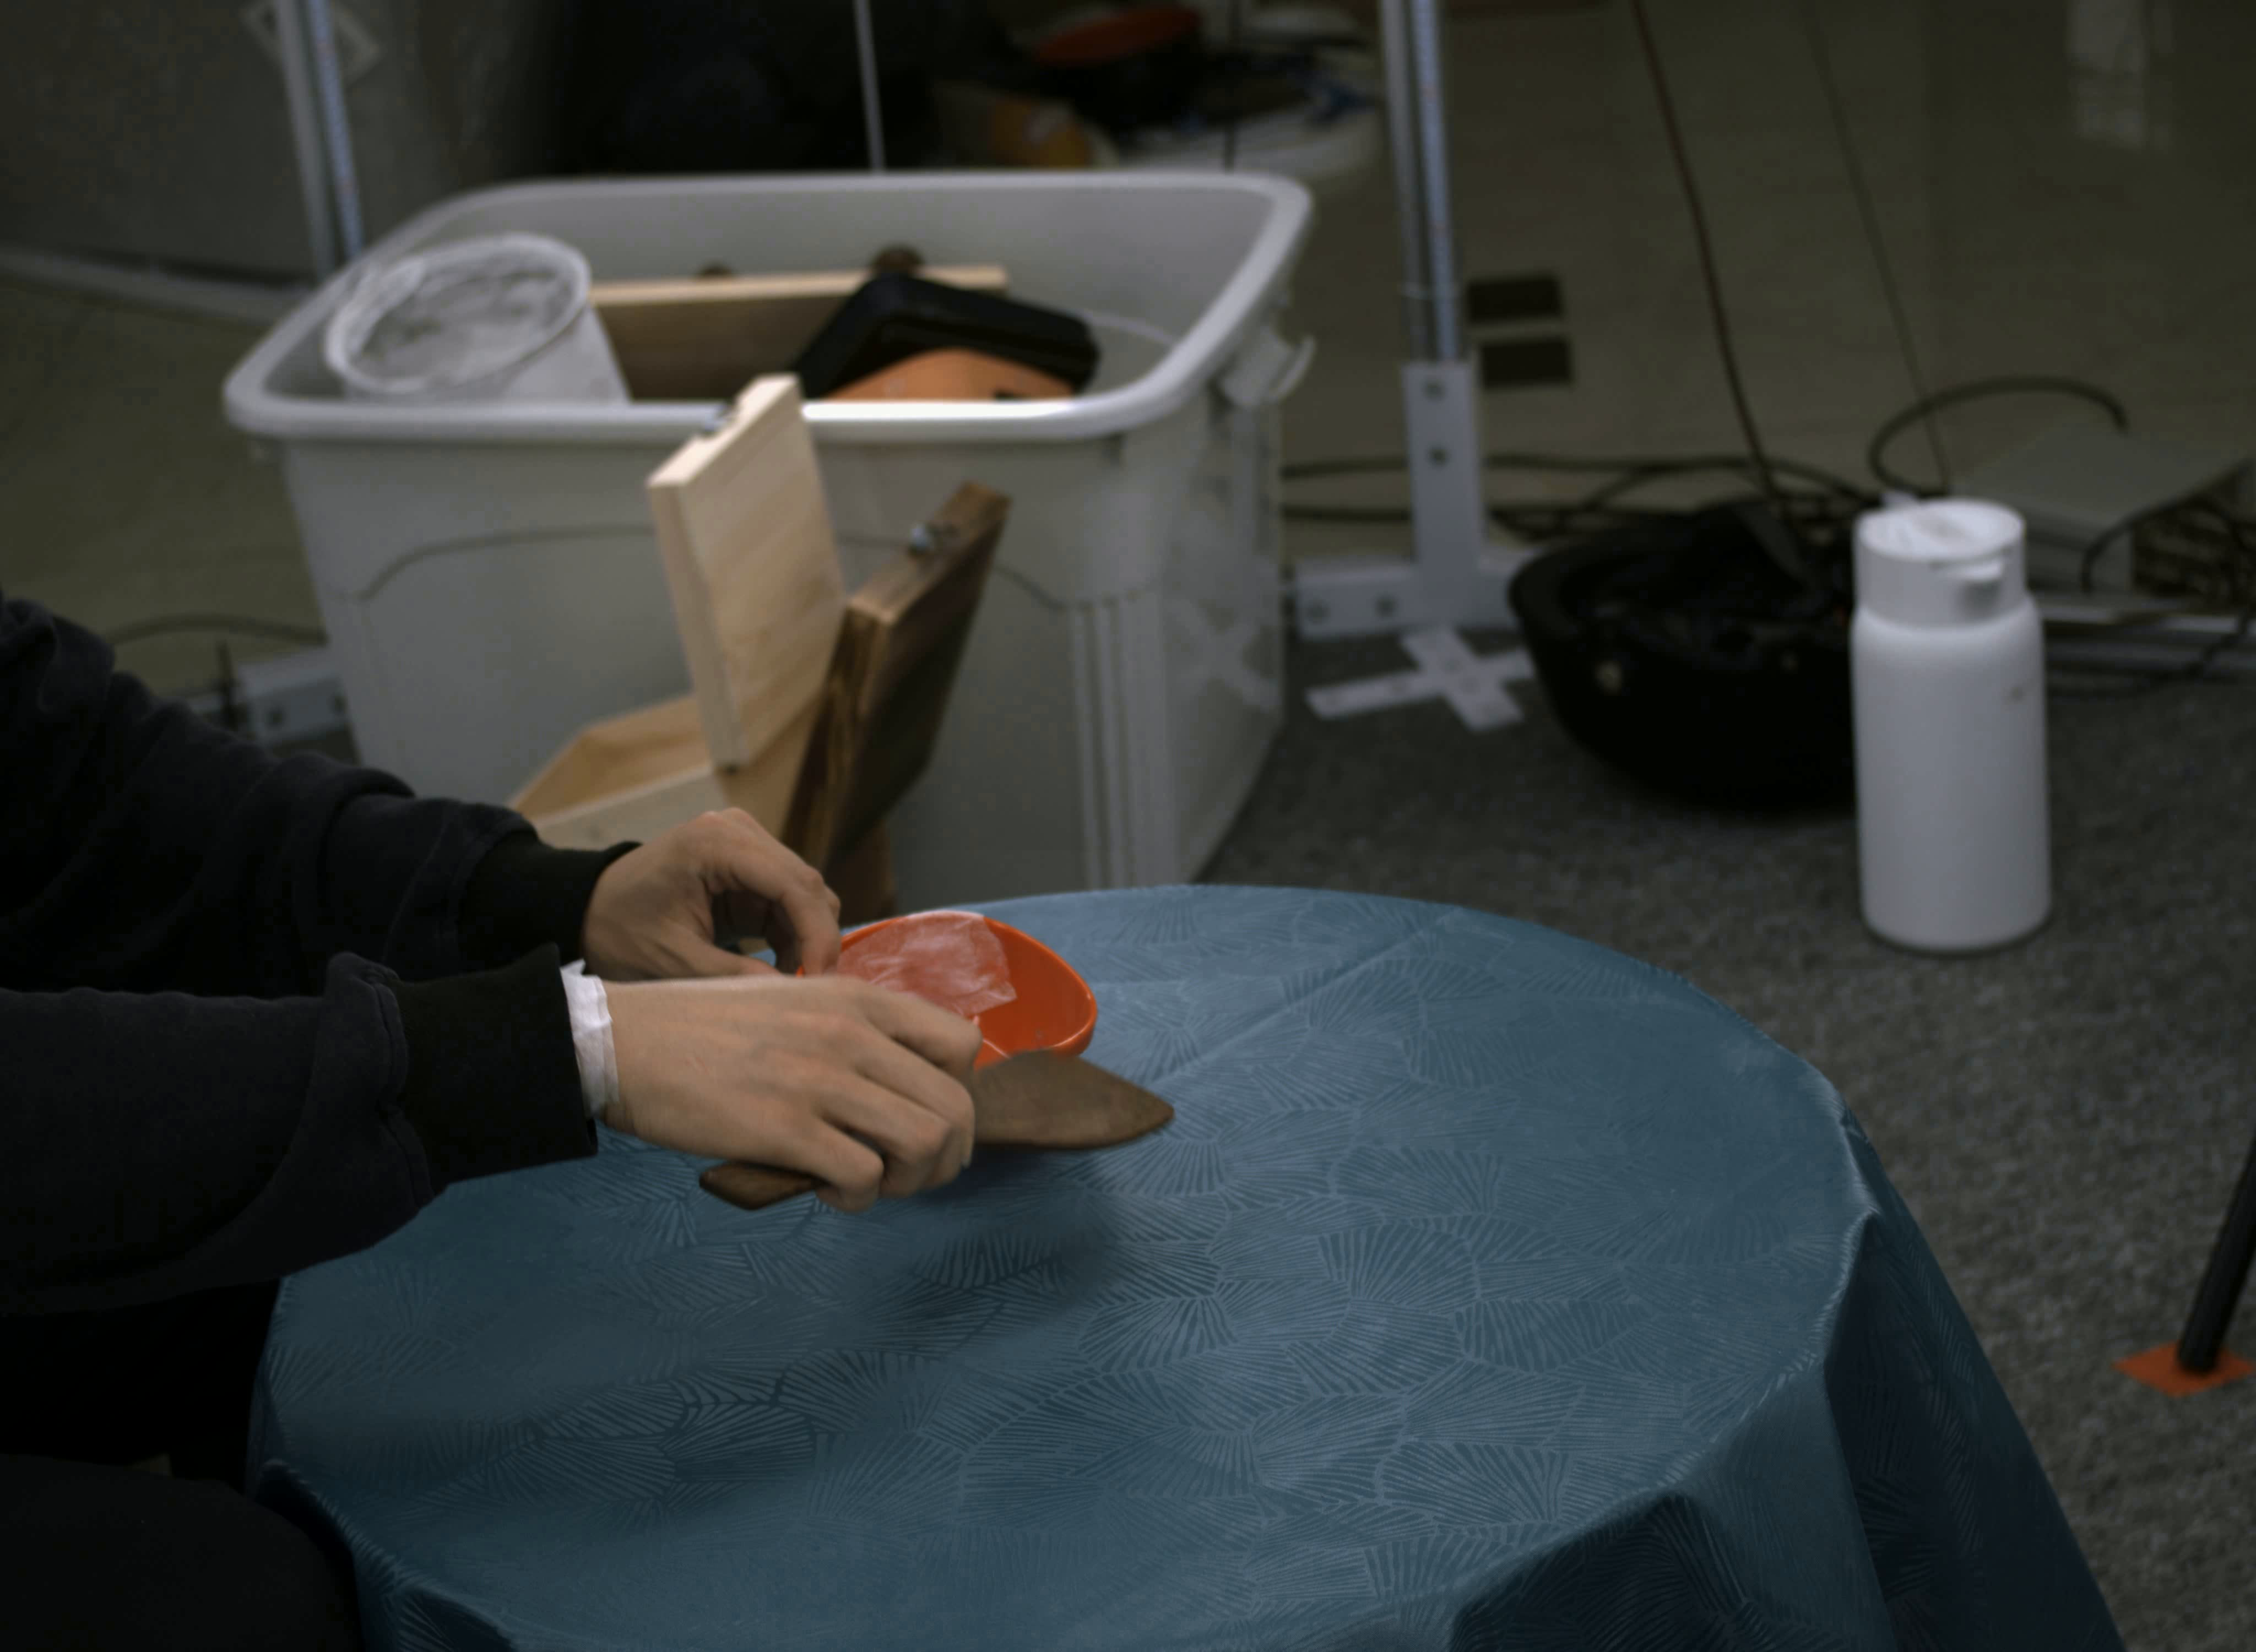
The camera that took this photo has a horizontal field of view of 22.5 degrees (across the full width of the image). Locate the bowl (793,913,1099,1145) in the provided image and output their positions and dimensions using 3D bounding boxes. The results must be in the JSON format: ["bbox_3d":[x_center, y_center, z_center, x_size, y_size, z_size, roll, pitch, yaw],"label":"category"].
[{"bbox_3d":[-0.073,0.087,2.207,0.119,0.052,0.117,5,34,-3],"label":"bowl"}]

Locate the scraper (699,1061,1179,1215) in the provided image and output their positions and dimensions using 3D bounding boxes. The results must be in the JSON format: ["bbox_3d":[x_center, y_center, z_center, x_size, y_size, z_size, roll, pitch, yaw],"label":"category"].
[{"bbox_3d":[-0.072,0.116,2.037,0.075,0.011,0.210,24,23,37],"label":"scraper"}]
